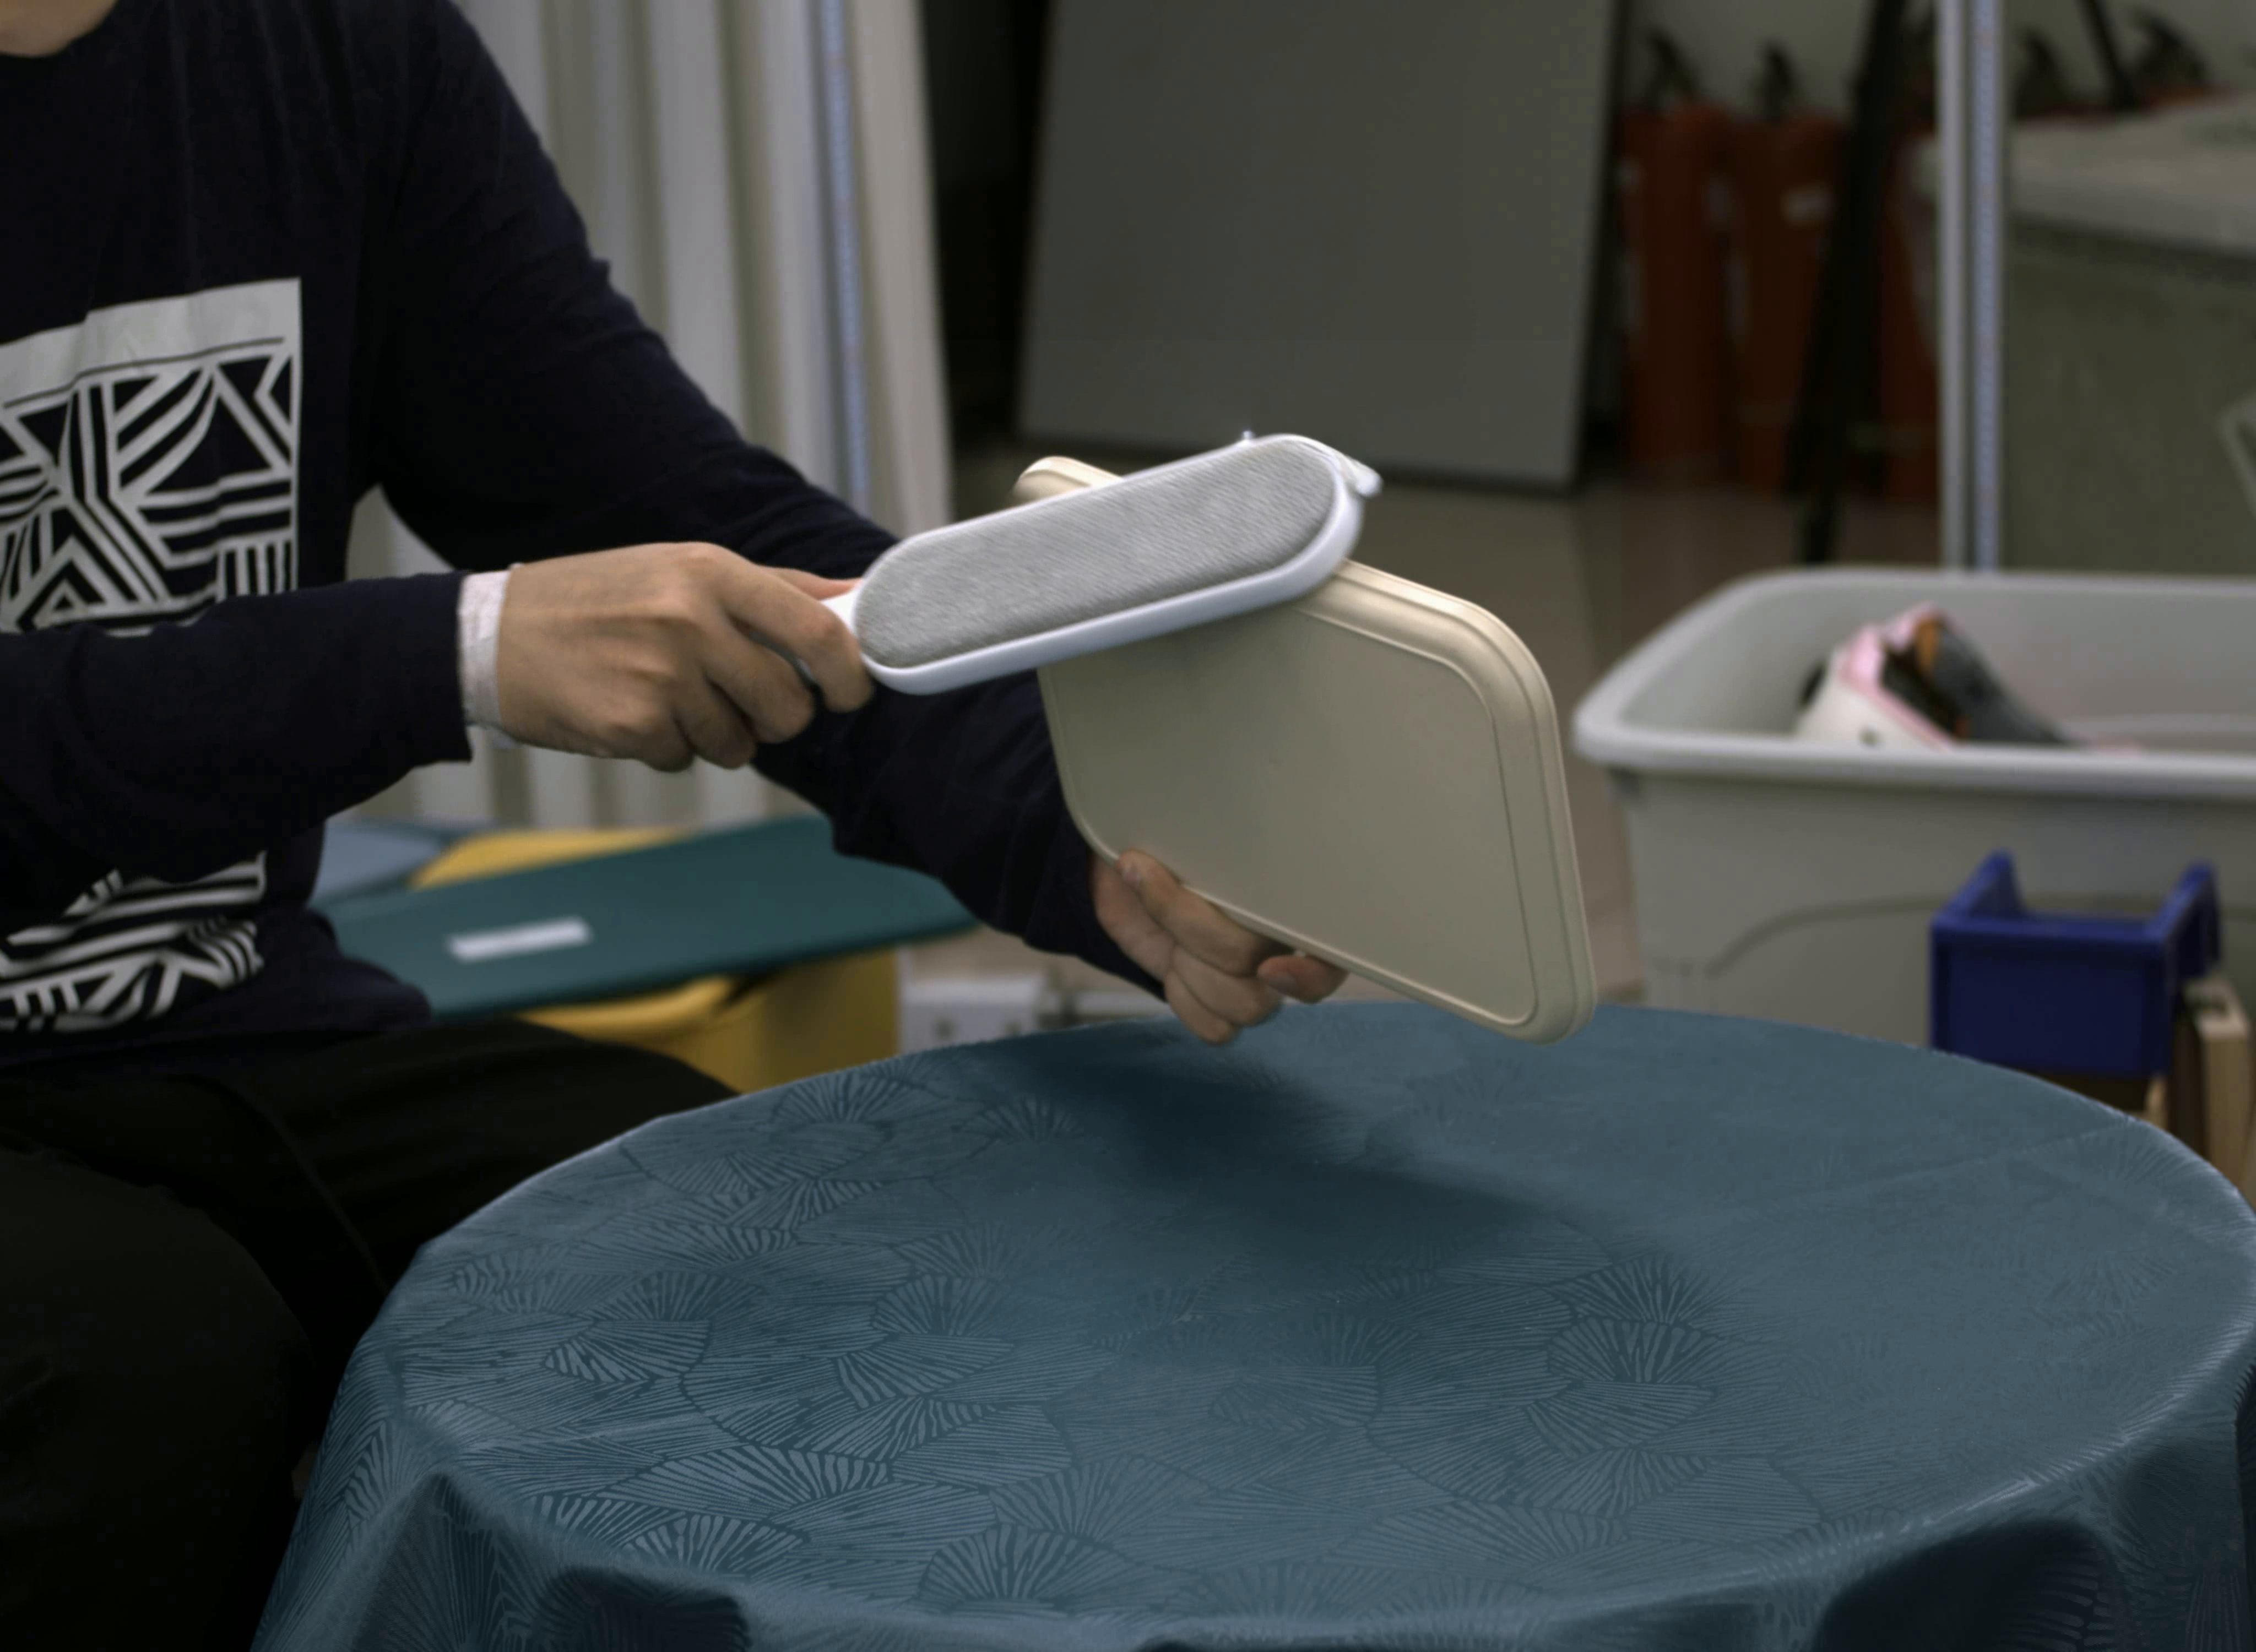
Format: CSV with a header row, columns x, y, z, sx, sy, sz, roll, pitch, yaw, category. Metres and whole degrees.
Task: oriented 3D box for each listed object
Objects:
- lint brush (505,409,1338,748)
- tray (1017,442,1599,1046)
x,y,z,sx,sy,sz,roll,pitch,yaw,category
-0.071,-0.075,1.755,0.309,0.061,0.020,-15,-31,24,lint brush
0.053,-0.025,1.760,0.017,0.172,0.242,-34,39,-31,tray
